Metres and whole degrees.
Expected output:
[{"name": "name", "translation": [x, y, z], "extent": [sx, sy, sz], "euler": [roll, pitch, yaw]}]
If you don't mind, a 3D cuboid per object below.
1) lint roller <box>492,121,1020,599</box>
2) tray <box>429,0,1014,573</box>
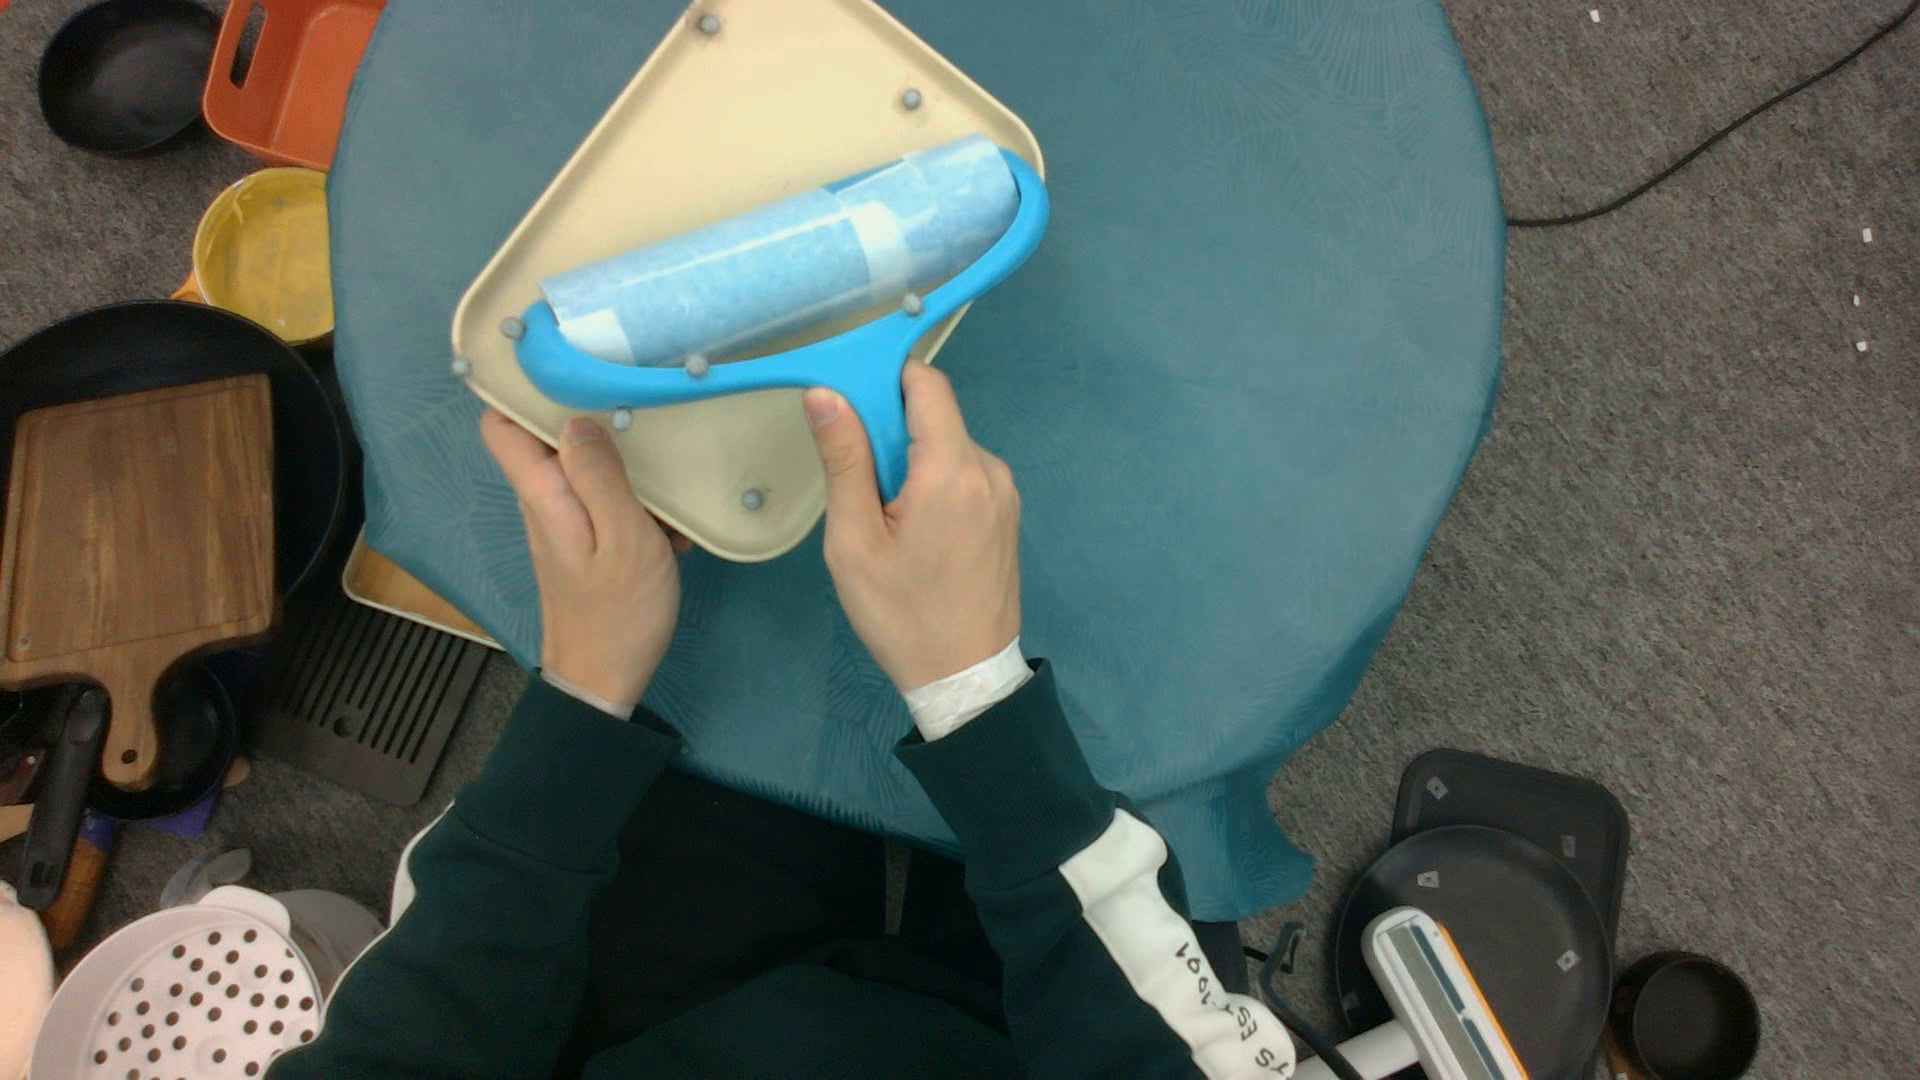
[{"name": "lint roller", "translation": [-0.050, -0.064, 0.556], "extent": [0.229, 0.067, 0.180], "euler": [-28, 81, -19]}, {"name": "tray", "translation": [-0.097, -0.119, 0.597], "extent": [0.171, 0.017, 0.240], "euler": [35, 80, -12]}]
